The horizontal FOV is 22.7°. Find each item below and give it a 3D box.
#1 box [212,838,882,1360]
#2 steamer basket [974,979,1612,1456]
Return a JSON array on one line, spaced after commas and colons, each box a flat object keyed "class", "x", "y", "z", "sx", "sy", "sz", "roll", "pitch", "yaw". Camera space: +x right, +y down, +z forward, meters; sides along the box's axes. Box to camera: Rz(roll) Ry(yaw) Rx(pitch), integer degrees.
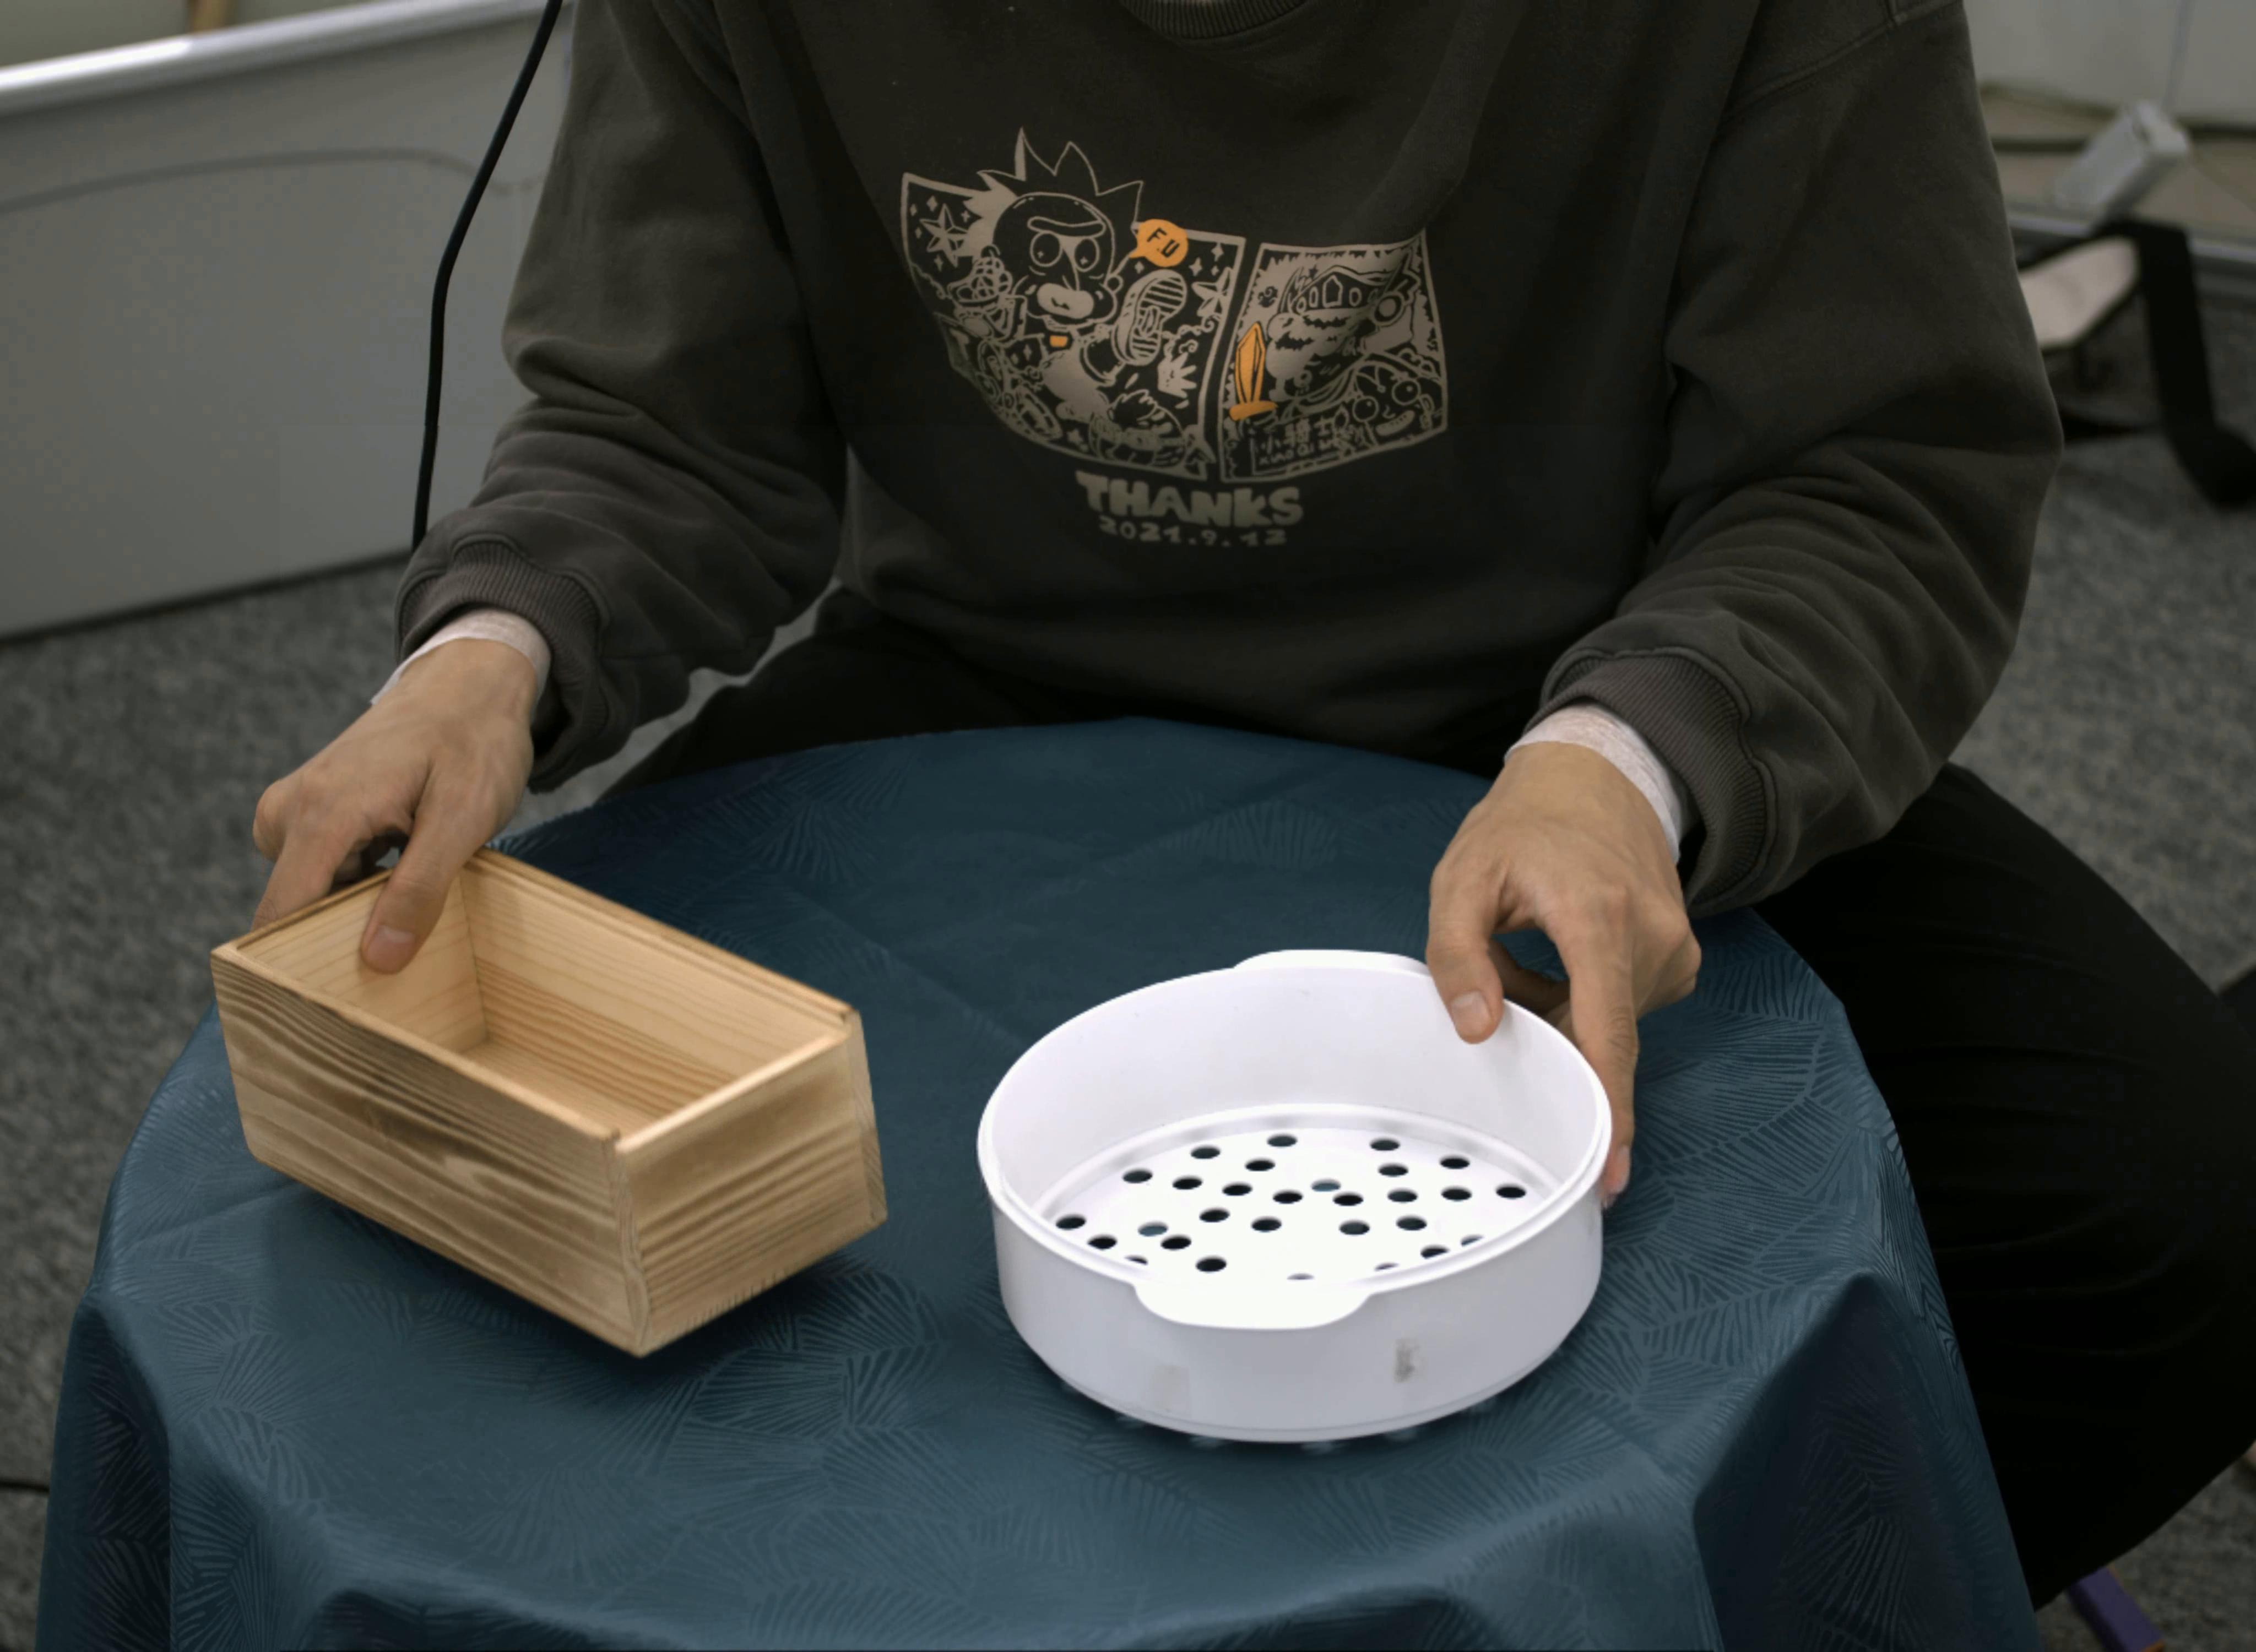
[{"class": "box", "x": -0.191, "y": 0.086, "z": 1.833, "sx": 0.109, "sy": 0.079, "sz": 0.211, "roll": -26, "pitch": 33, "yaw": -37}, {"class": "steamer basket", "x": 0.053, "y": 0.125, "z": 1.782, "sx": 0.200, "sy": 0.068, "sz": 0.234, "roll": 2, "pitch": 25, "yaw": 10}]
